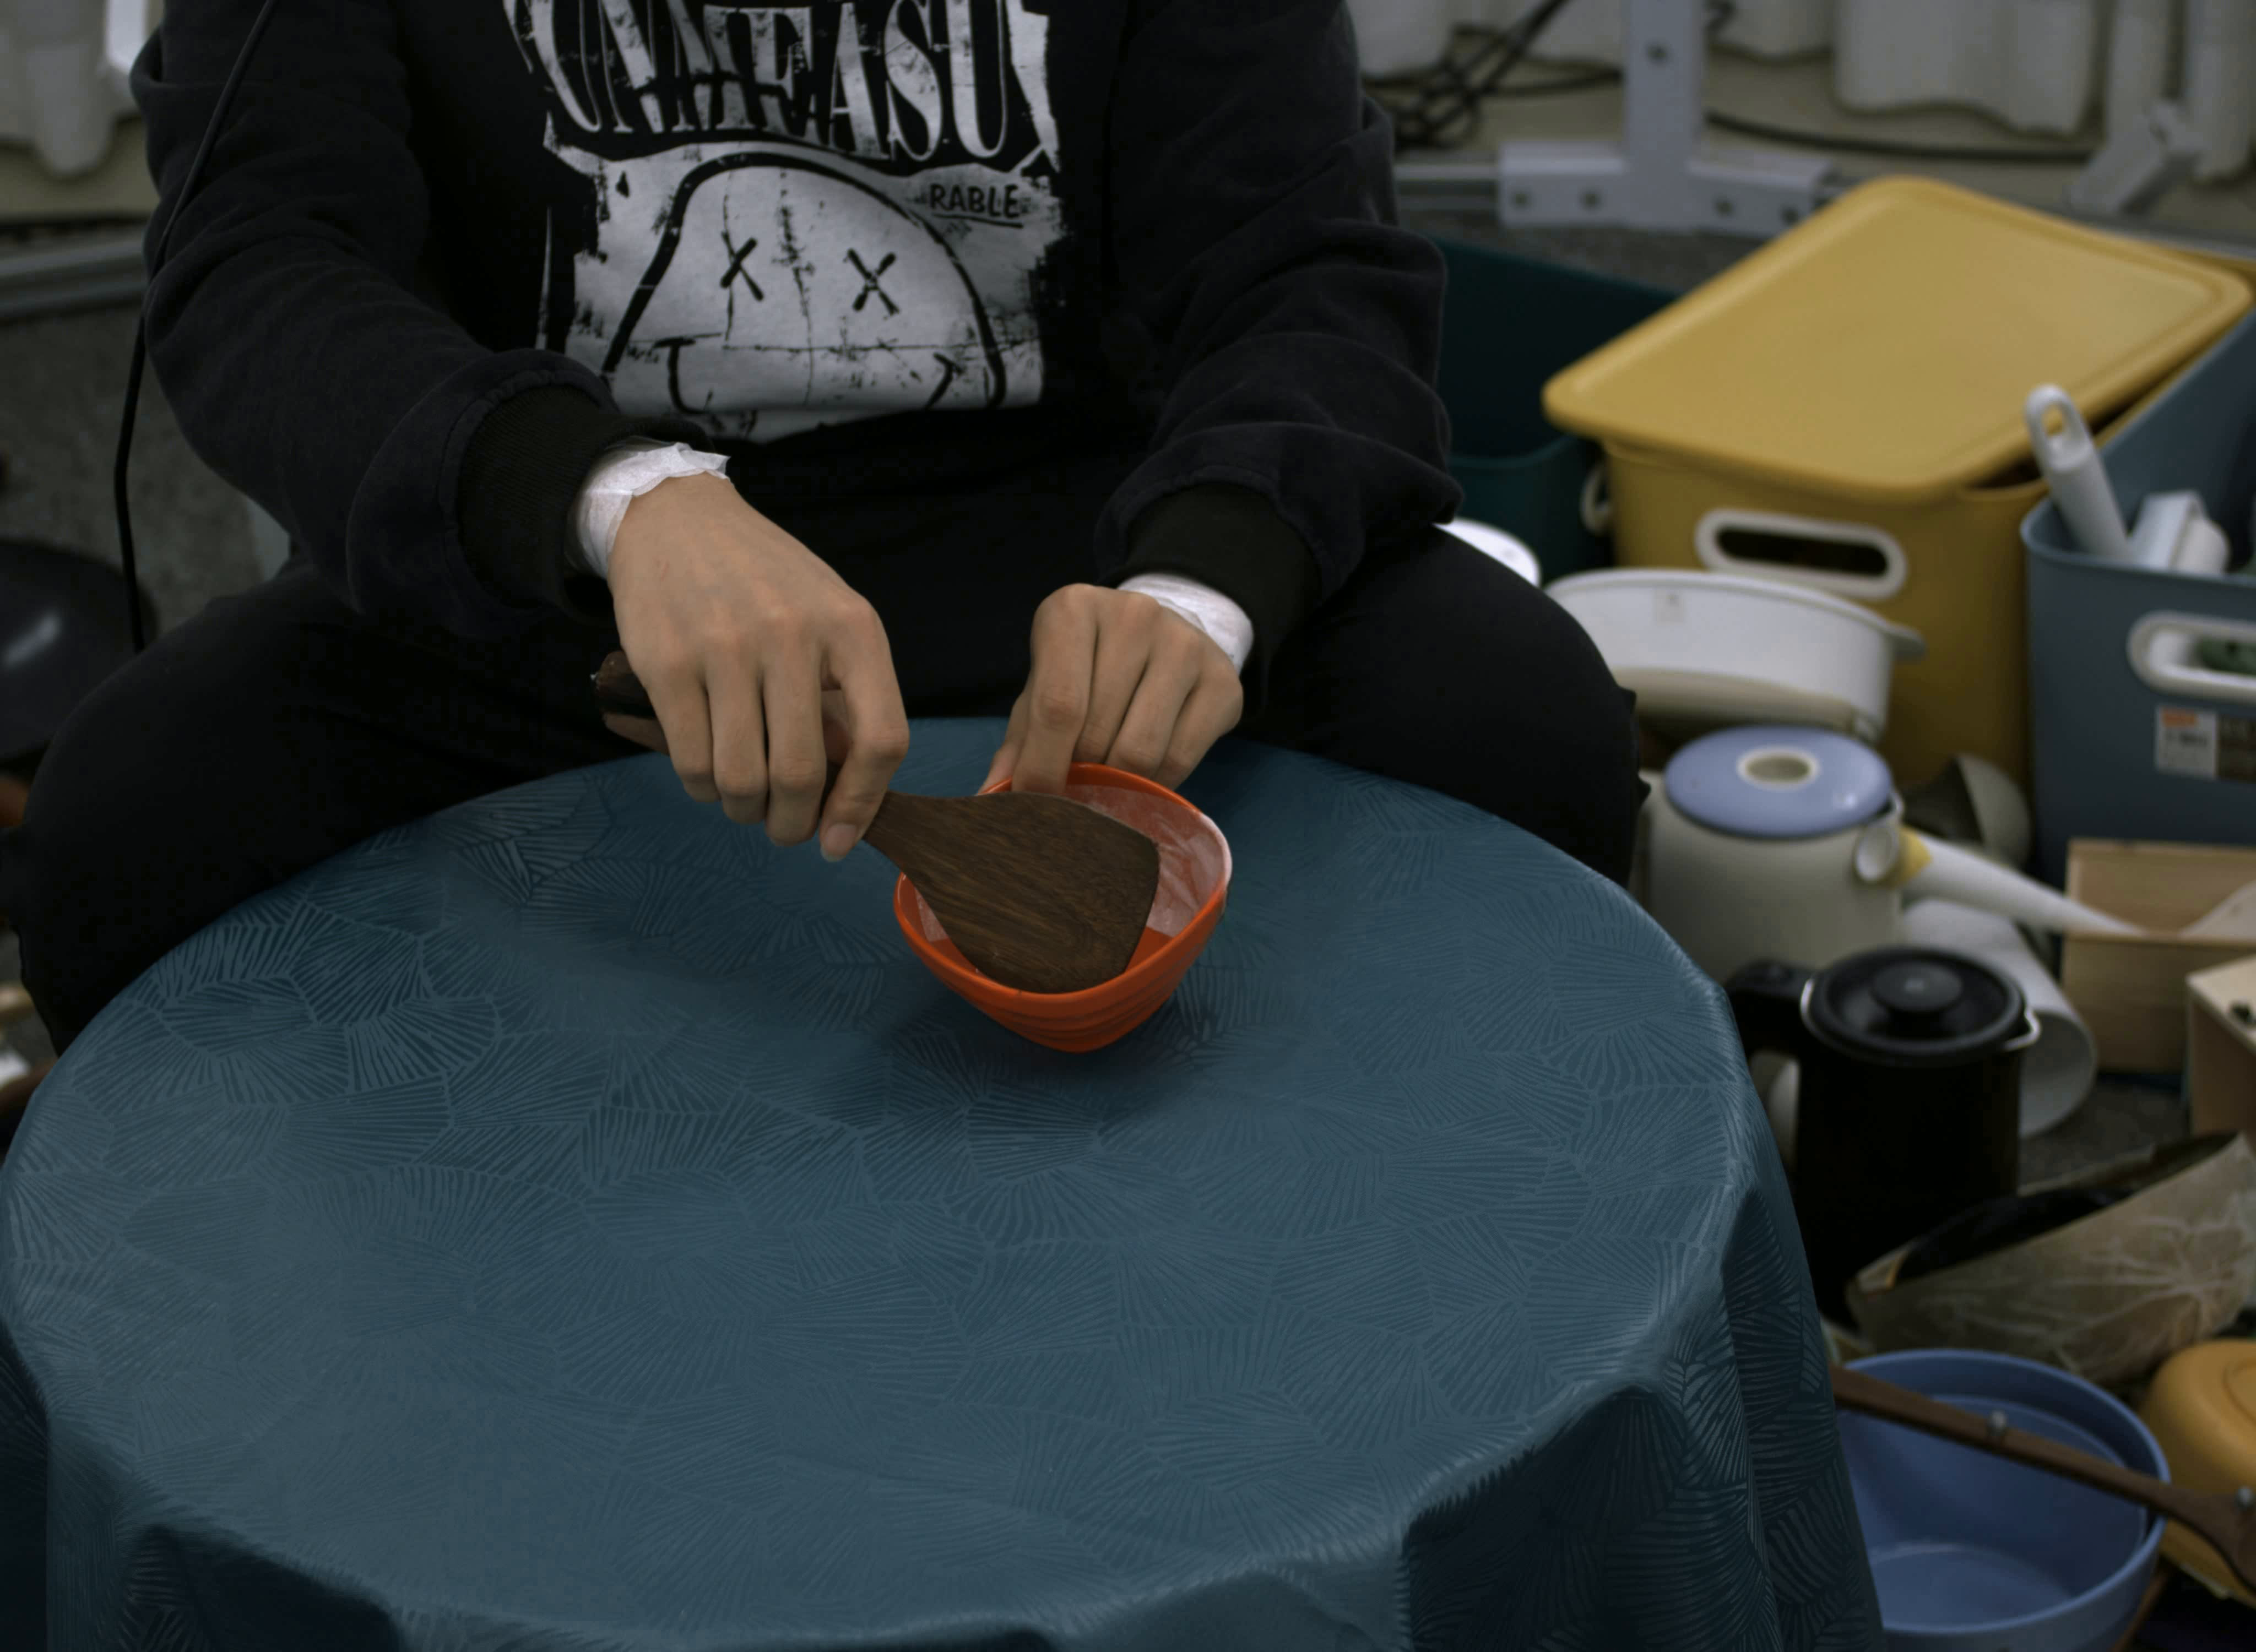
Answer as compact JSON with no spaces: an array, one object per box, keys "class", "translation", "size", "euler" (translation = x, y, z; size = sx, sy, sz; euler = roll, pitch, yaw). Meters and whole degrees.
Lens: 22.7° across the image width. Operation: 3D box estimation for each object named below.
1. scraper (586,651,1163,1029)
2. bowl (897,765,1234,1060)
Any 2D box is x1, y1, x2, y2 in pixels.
[{"class":"scraper","translation":[-0.090,-0.005,1.926],"size":[0.211,0.075,0.011],"euler":[26,12,6]},{"class":"bowl","translation":[-0.018,0.037,1.957],"size":[0.118,0.050,0.121],"euler":[-6,42,6]}]
